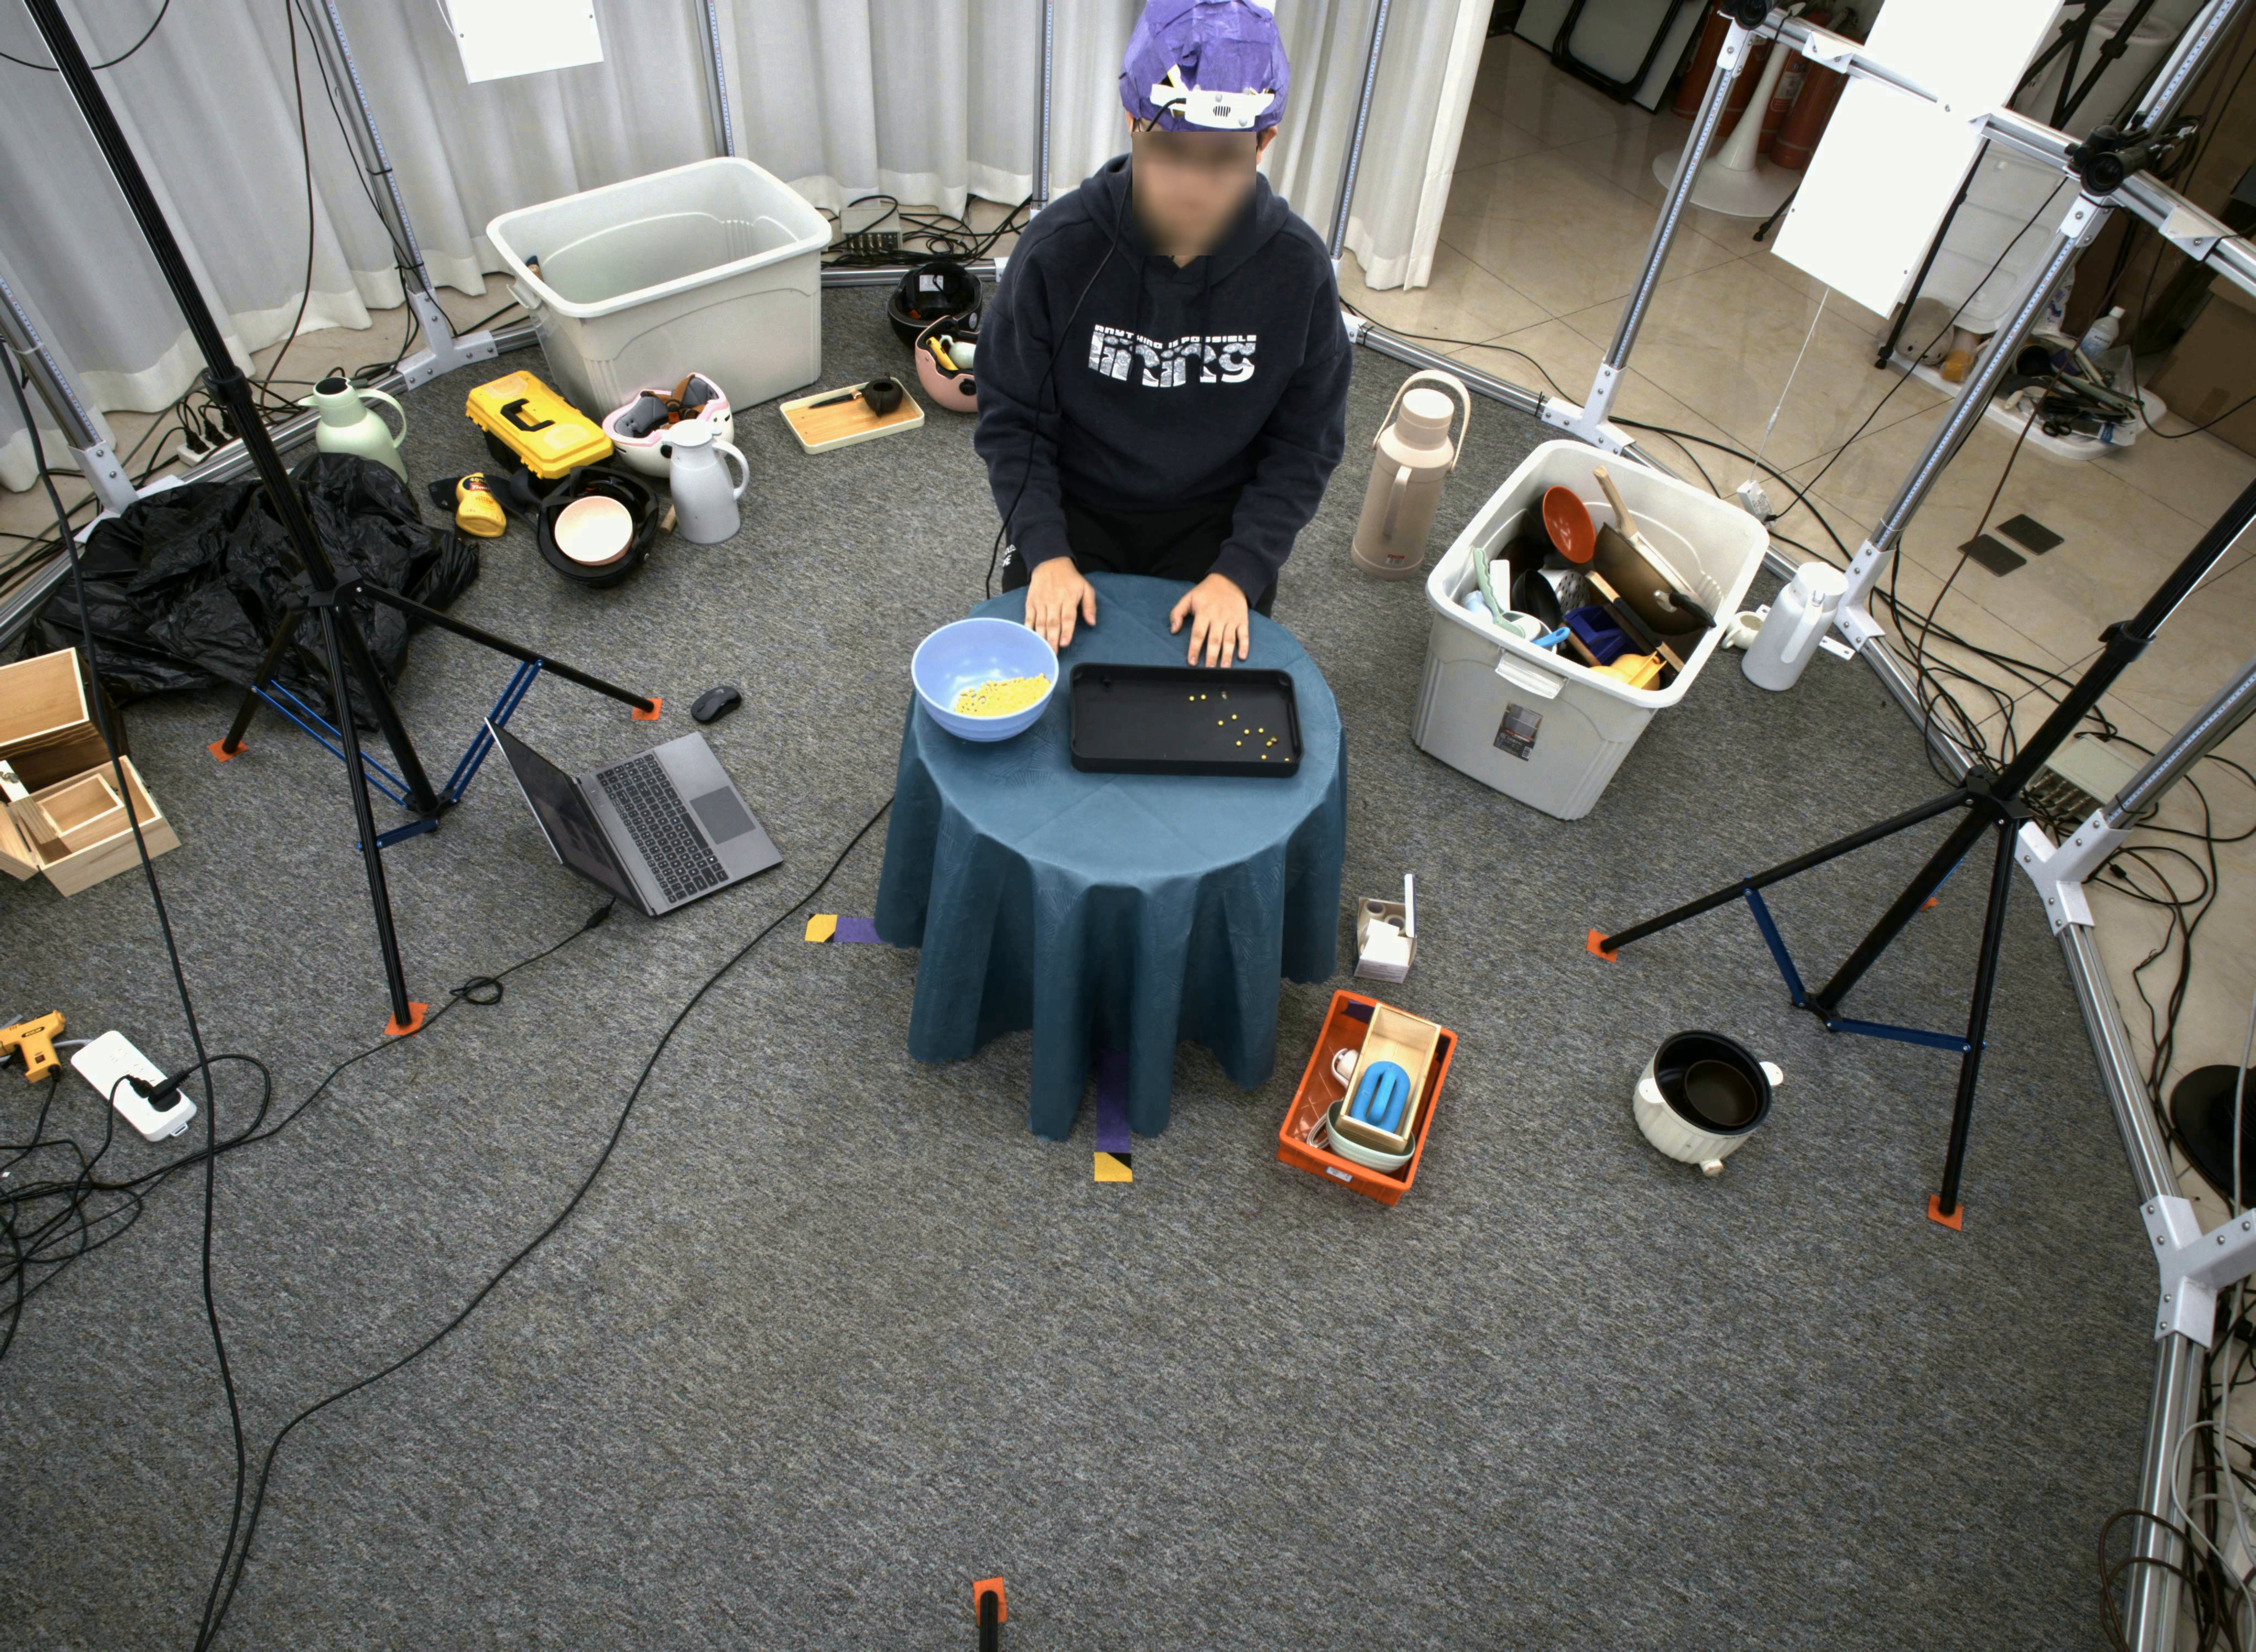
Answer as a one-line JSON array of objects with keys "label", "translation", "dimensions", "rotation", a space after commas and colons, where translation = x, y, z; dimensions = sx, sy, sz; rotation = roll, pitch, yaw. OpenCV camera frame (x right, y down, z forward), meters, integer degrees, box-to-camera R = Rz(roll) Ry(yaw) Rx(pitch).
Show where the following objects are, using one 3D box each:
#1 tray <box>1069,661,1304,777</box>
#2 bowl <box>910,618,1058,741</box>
[{"label": "tray", "translation": [0.076, -0.149, 1.776], "dimensions": [0.317, 0.036, 0.189], "rotation": [2, 49, -3]}, {"label": "bowl", "translation": [-0.193, -0.184, 1.749], "dimensions": [0.196, 0.093, 0.201], "rotation": [2, 49, -2]}]
